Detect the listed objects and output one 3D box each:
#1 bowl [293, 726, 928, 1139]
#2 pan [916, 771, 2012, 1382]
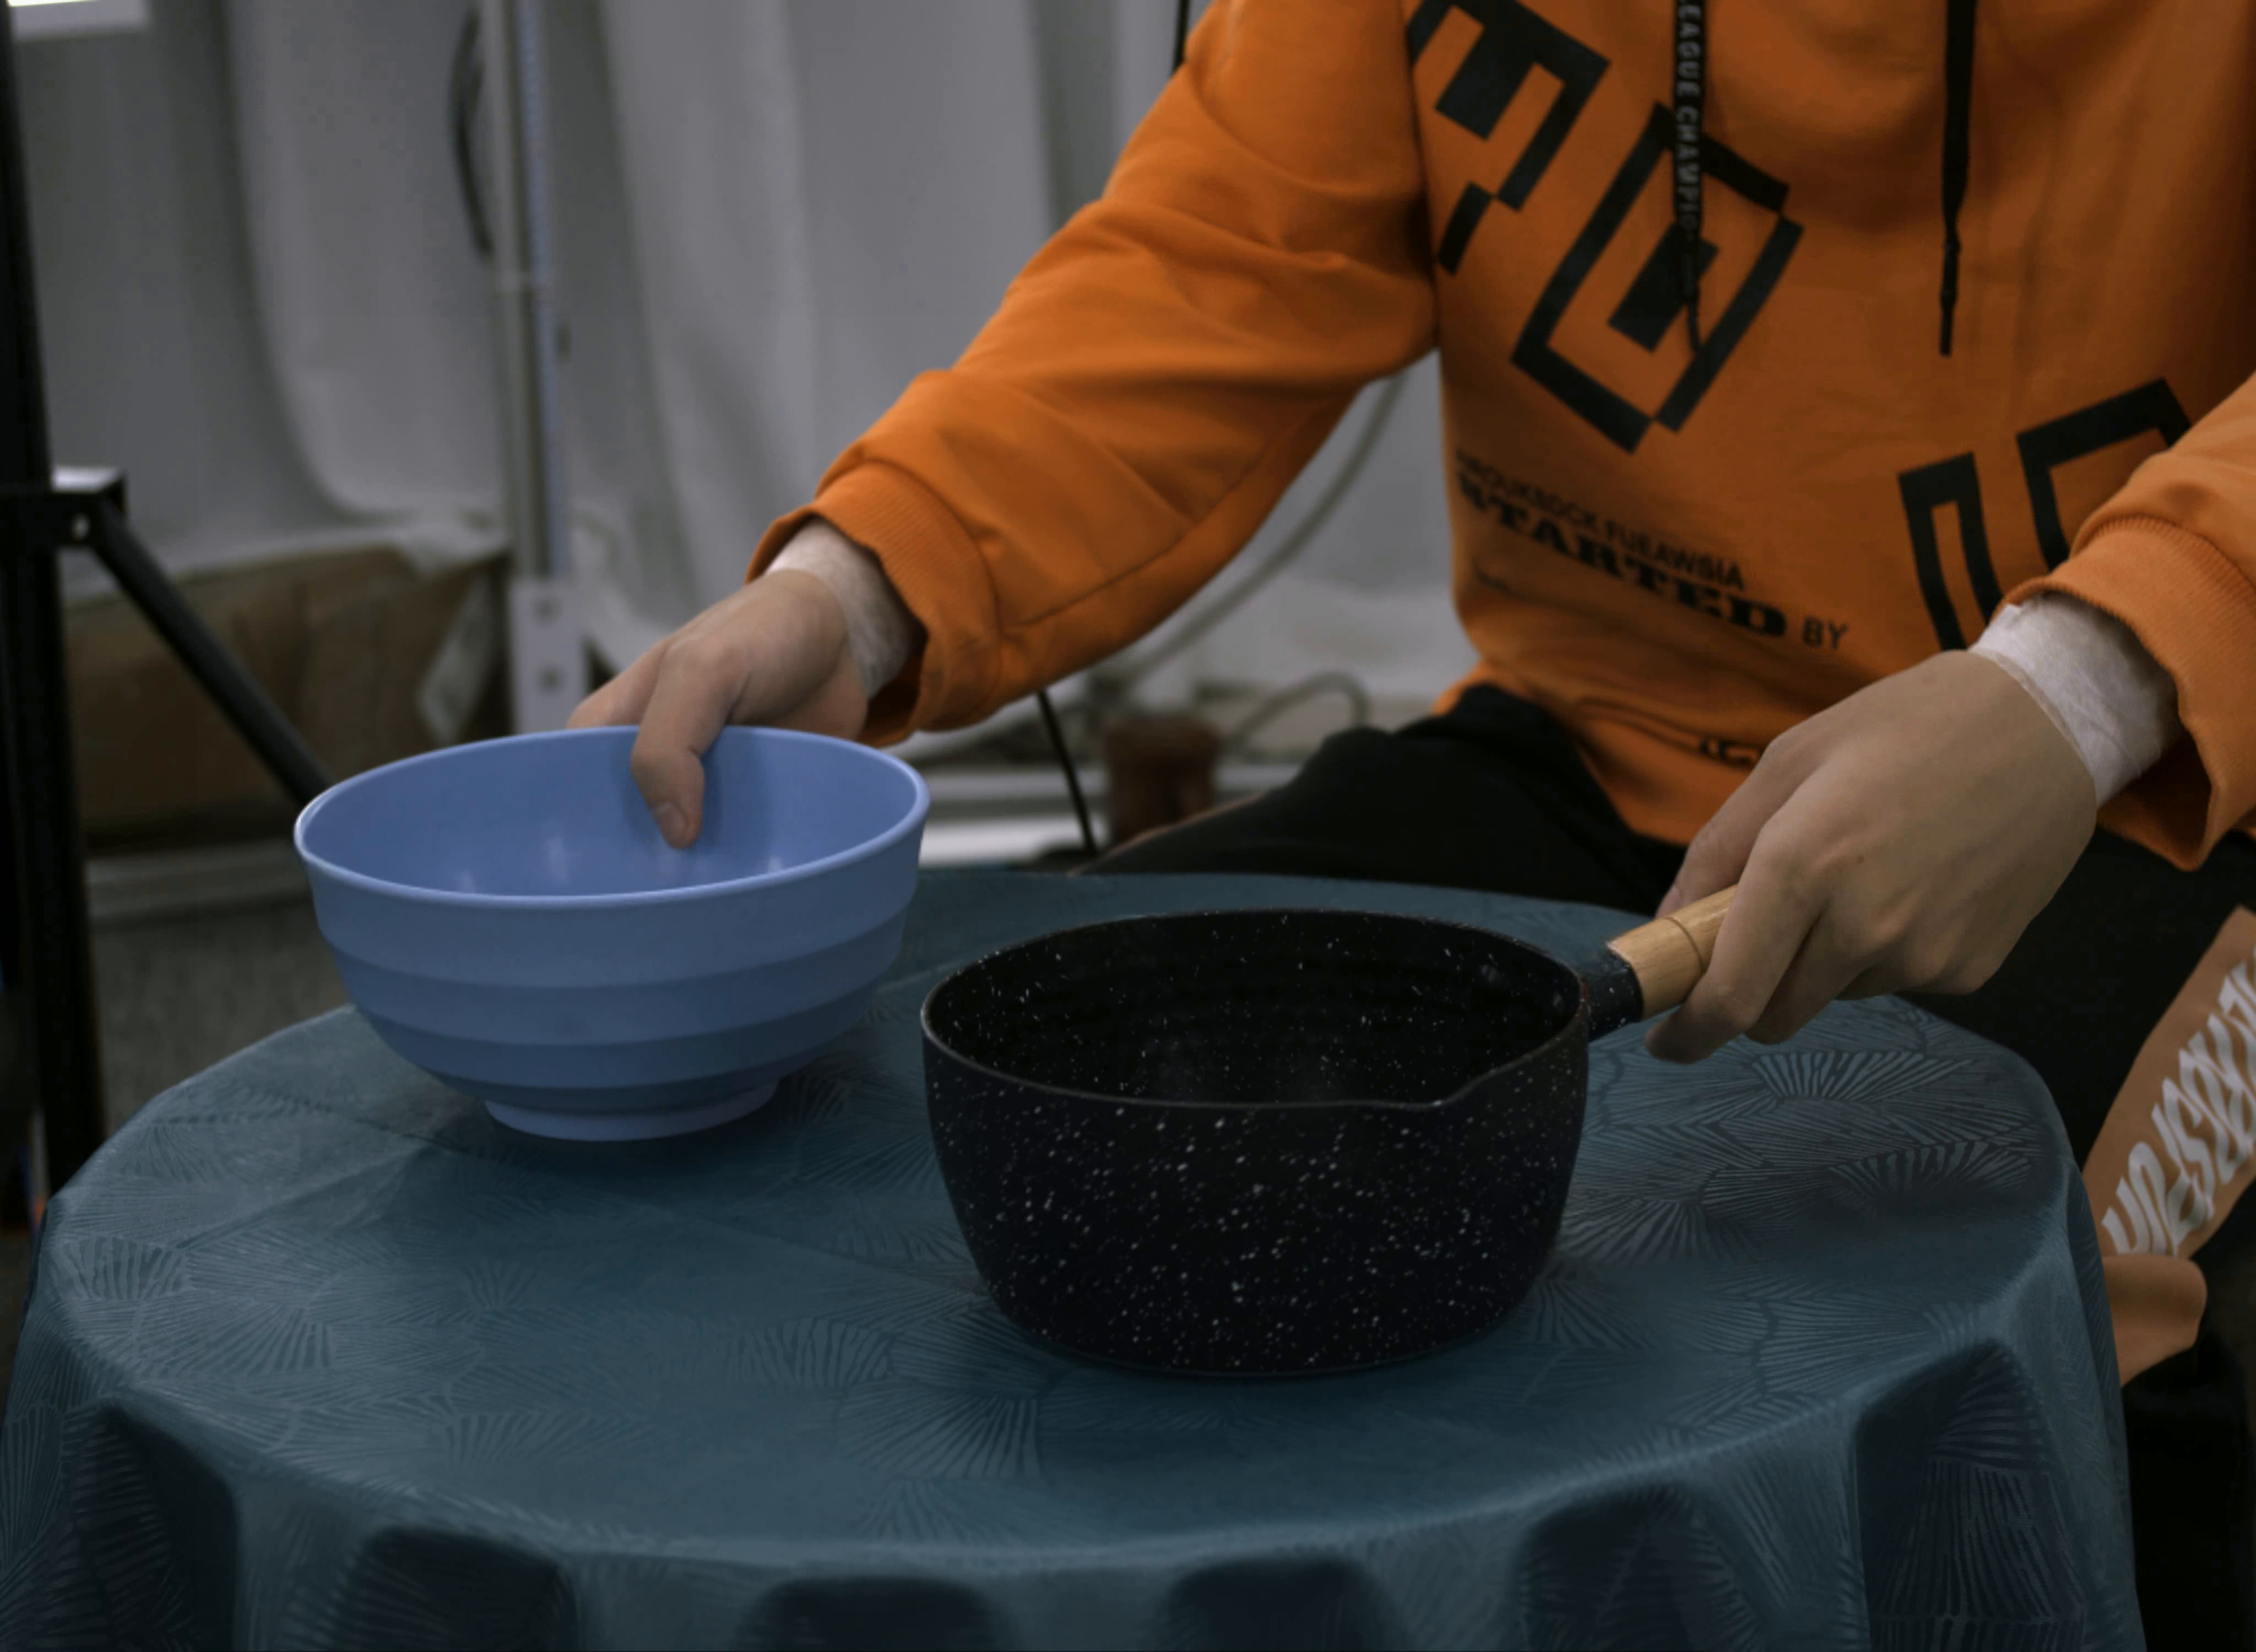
[{"bbox_3d":[-0.157,0.038,1.657,0.195,0.095,0.197,-4,16,0],"label":"bowl"},{"bbox_3d":[0.105,0.065,1.495,0.336,0.108,0.212,-11,17,-25],"label":"pan"}]
